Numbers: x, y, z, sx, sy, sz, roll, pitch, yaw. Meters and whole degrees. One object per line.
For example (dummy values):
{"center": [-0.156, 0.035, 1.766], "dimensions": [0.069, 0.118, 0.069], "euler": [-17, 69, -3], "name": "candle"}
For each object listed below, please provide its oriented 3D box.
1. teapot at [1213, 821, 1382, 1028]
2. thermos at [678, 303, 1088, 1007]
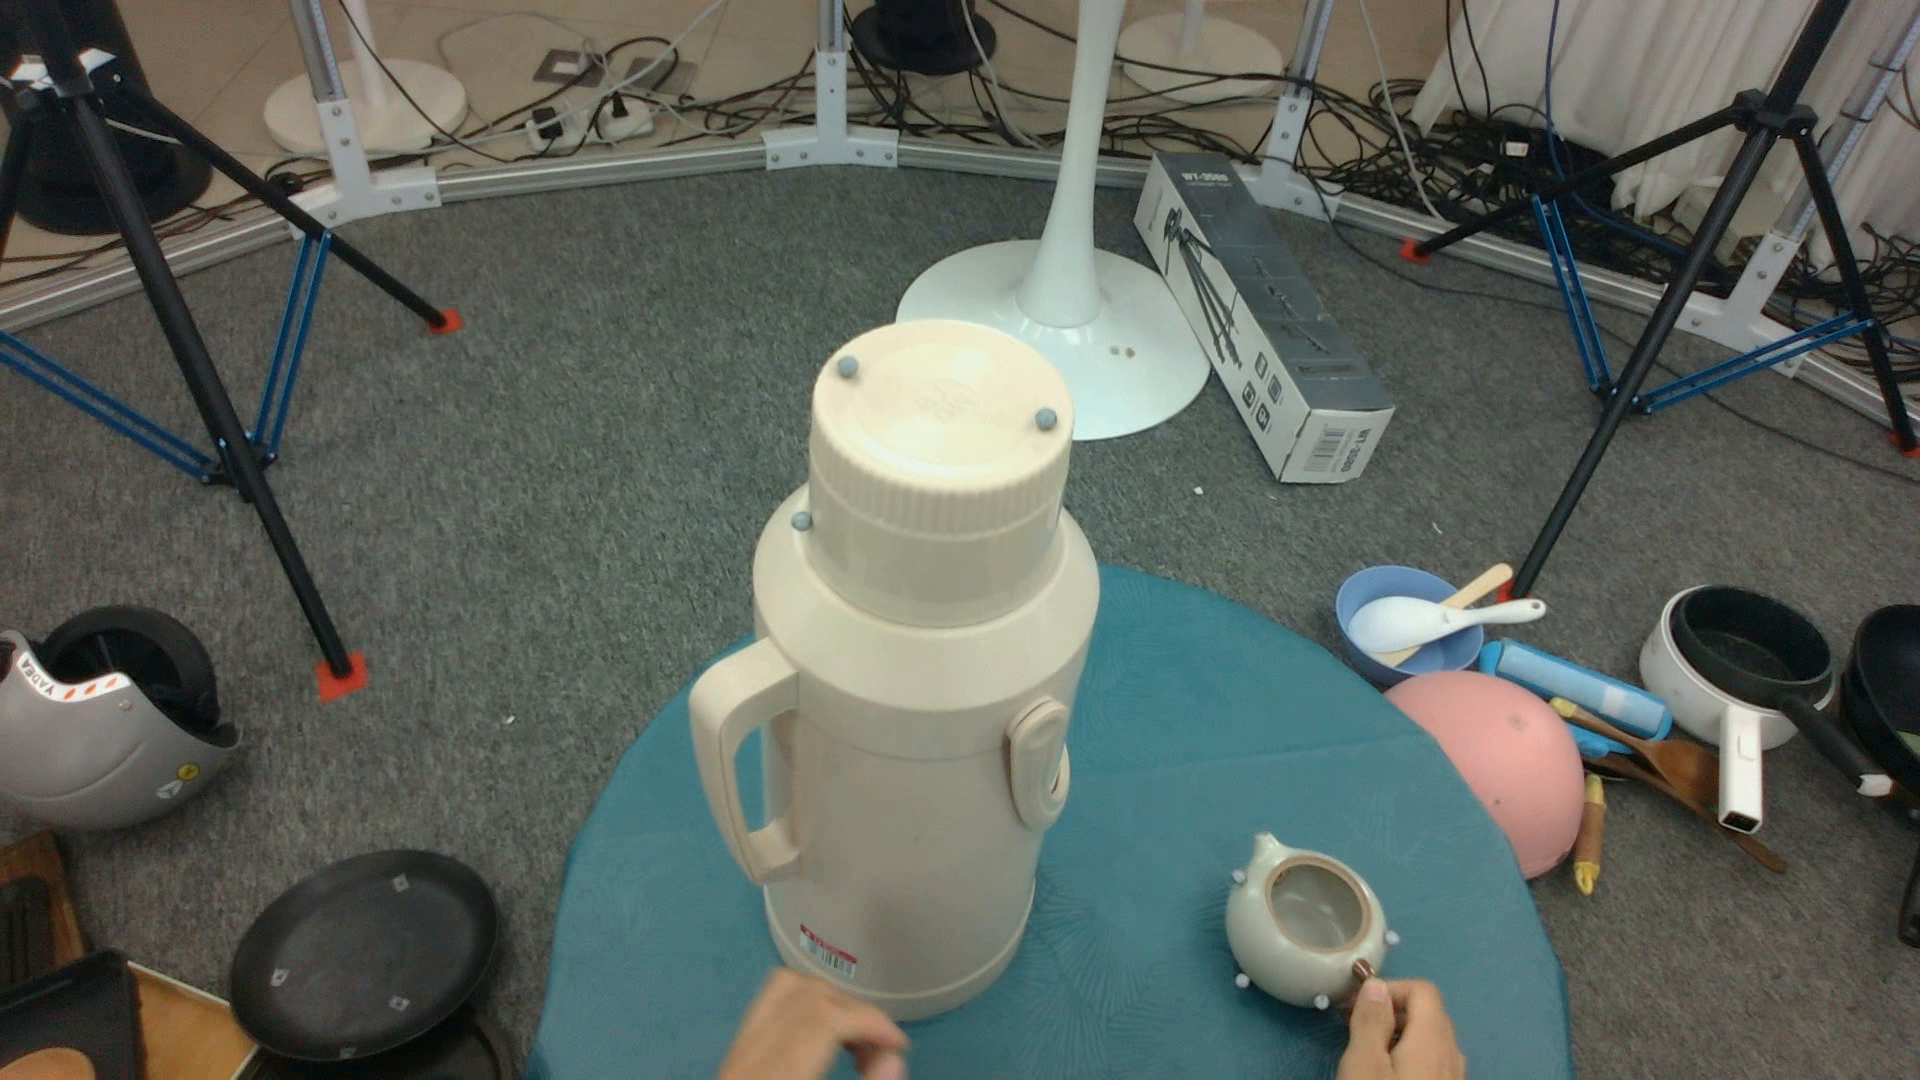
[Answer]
{"center": [0.200, 0.226, 0.802], "dimensions": [0.092, 0.059, 0.128], "euler": [-19, 50, -26], "name": "teapot"}
{"center": [-0.041, 0.078, 0.681], "dimensions": [0.208, 0.404, 0.175], "euler": [-28, 57, -29], "name": "thermos"}
